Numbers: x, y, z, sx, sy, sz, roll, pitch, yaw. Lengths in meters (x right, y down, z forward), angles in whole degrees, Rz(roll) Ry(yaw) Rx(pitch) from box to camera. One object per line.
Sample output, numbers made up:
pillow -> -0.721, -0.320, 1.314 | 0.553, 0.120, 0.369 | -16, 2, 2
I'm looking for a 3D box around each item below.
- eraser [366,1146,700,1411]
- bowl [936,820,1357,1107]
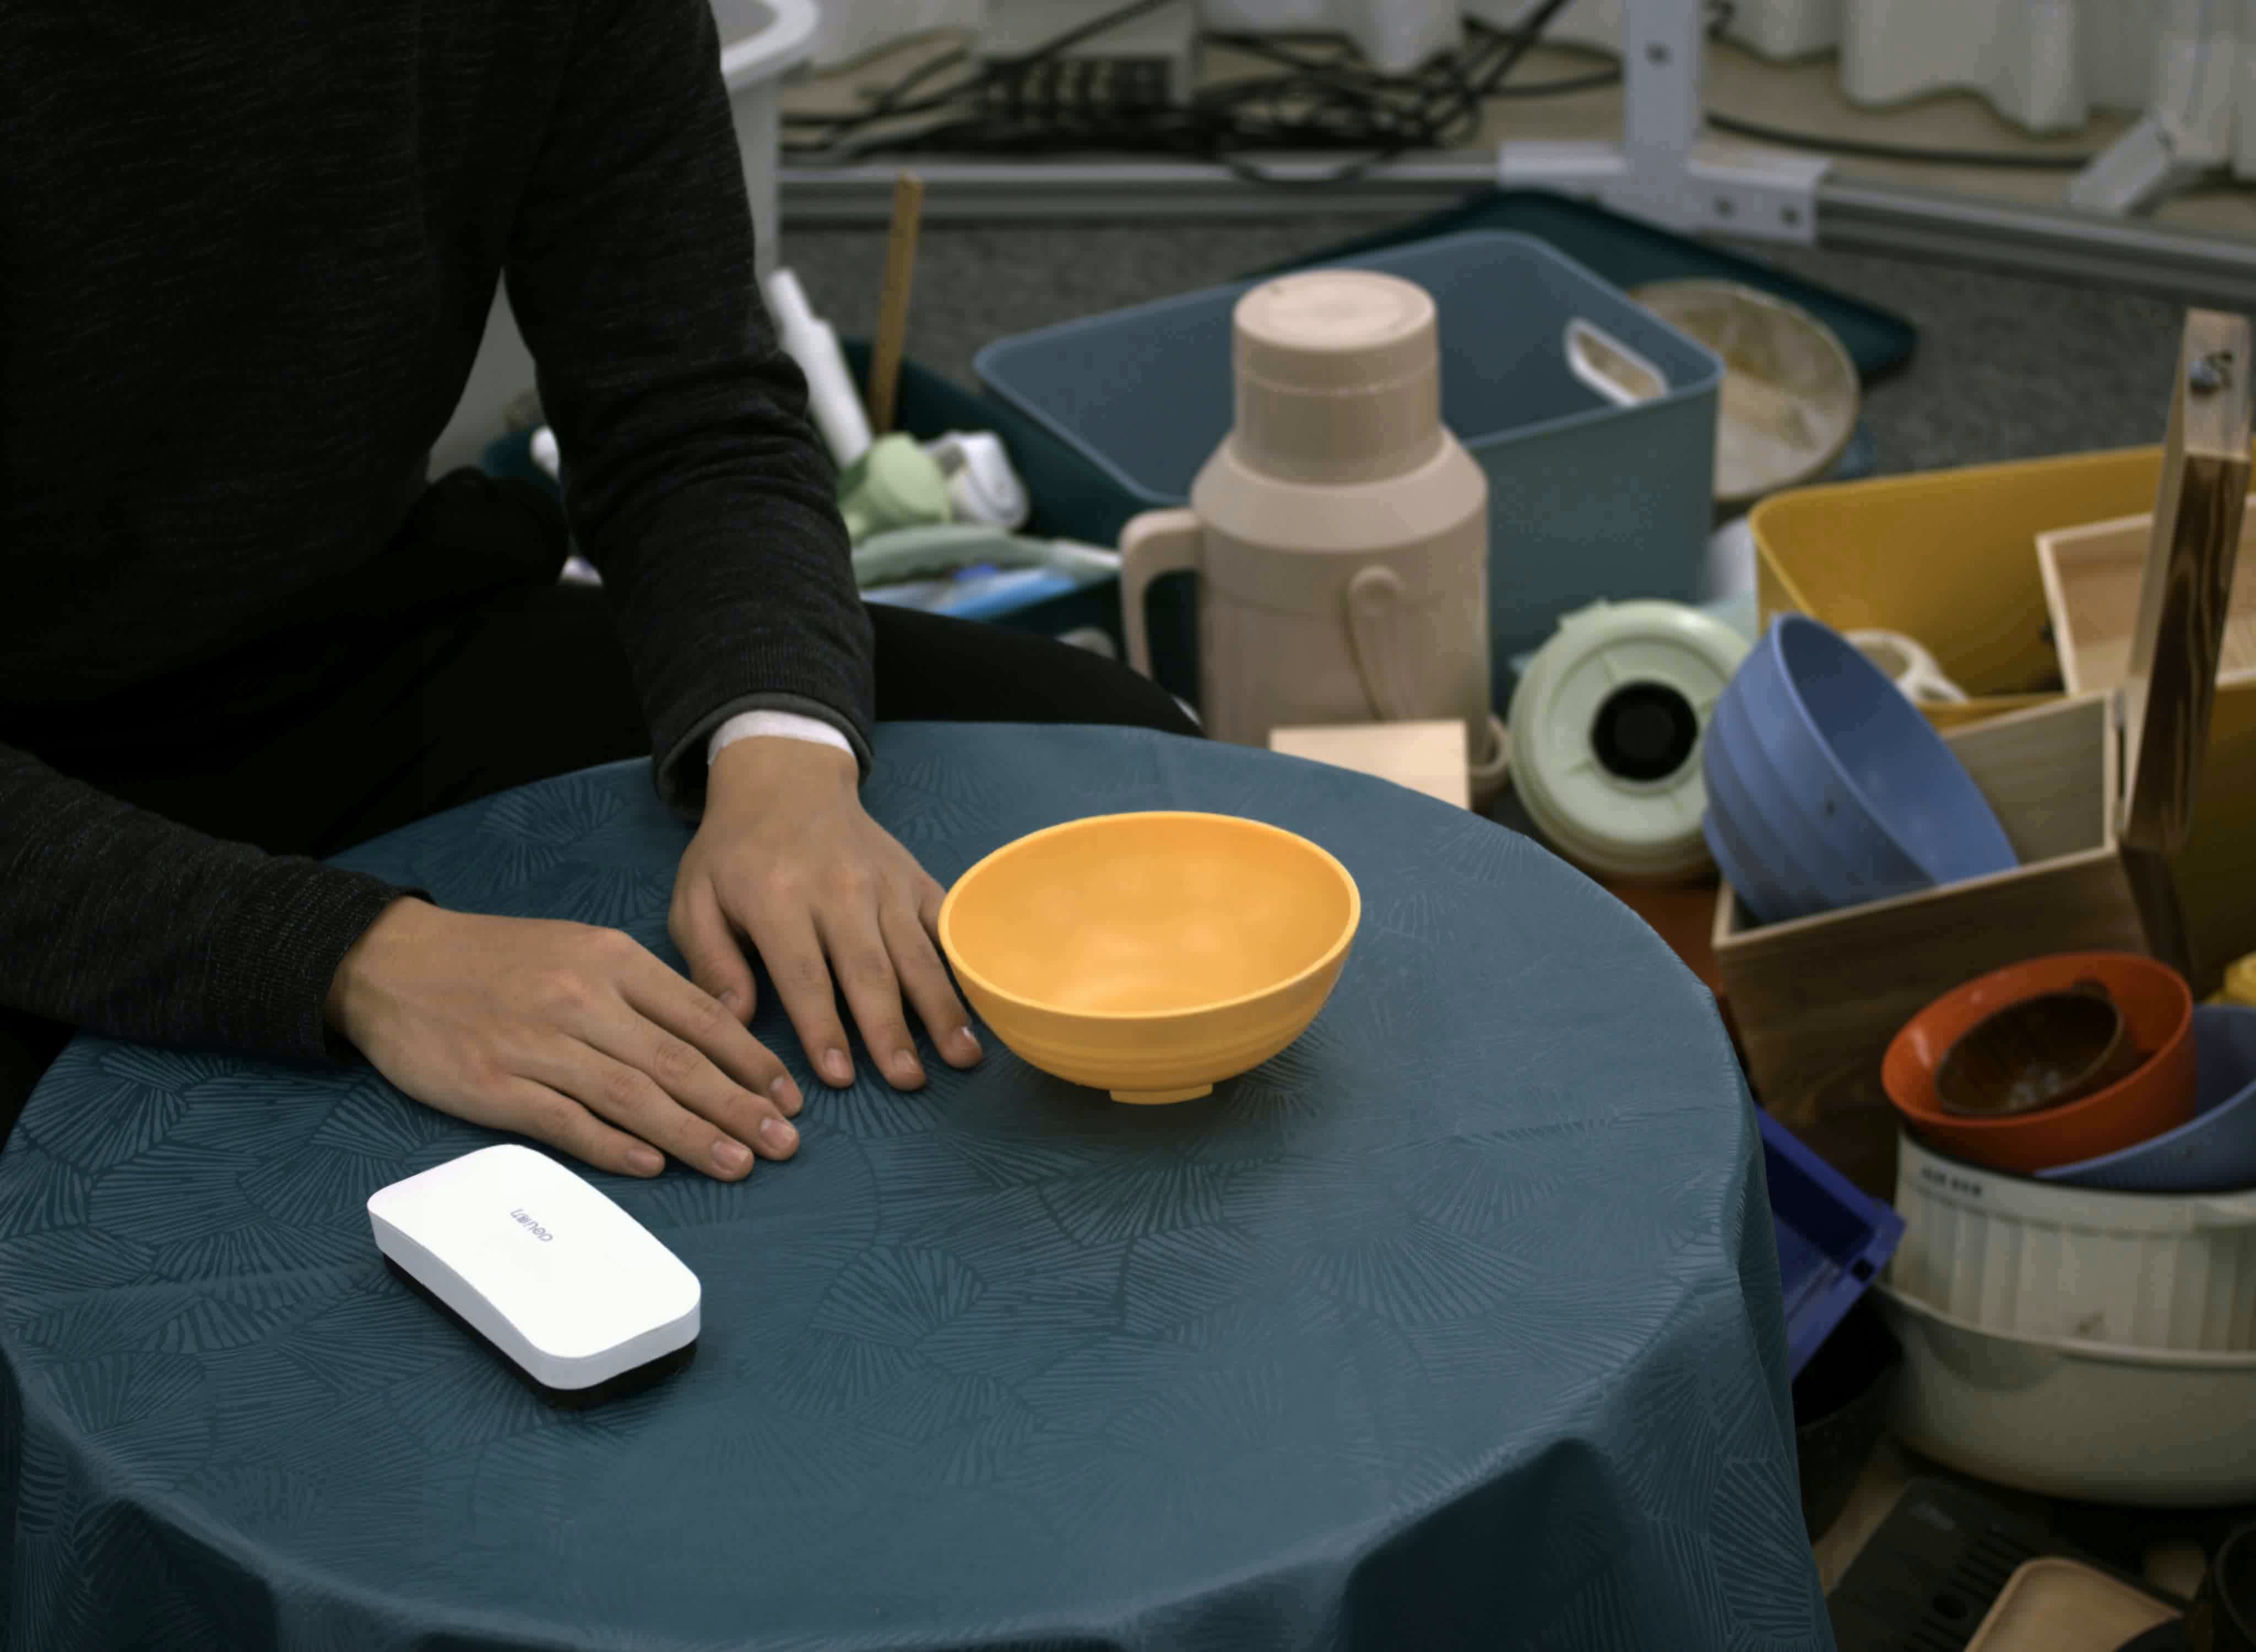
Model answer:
eraser -> -0.191, 0.142, 1.807 | 0.064, 0.034, 0.131 | -20, 32, -30
bowl -> 0.007, 0.055, 1.927 | 0.144, 0.059, 0.147 | -2, 26, 1
